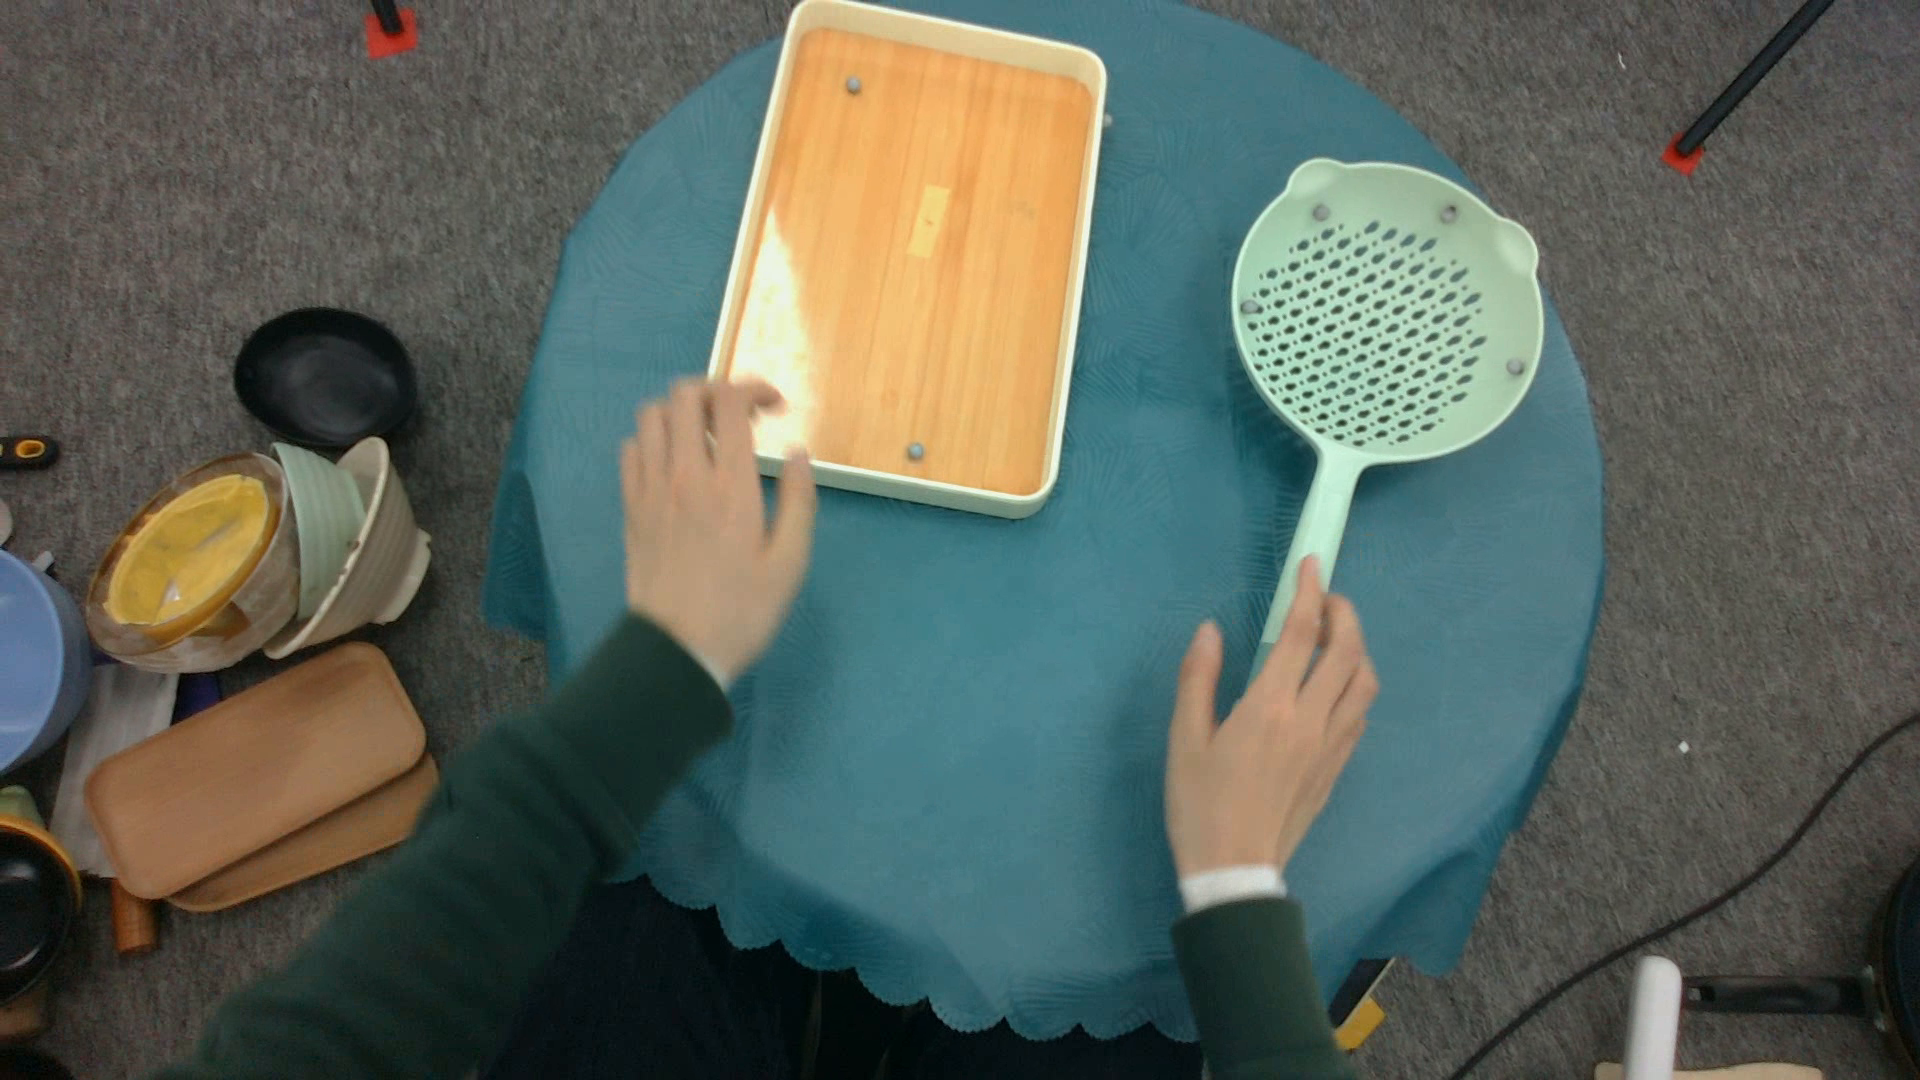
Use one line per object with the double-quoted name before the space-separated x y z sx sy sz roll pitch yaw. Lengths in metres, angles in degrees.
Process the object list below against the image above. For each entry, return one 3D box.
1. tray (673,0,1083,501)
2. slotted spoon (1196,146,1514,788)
"tray" -0.038 -0.174 0.776 0.191 0.027 0.301 10 67 -4
"slotted spoon" 0.187 -0.043 0.733 0.169 0.075 0.360 19 67 2
